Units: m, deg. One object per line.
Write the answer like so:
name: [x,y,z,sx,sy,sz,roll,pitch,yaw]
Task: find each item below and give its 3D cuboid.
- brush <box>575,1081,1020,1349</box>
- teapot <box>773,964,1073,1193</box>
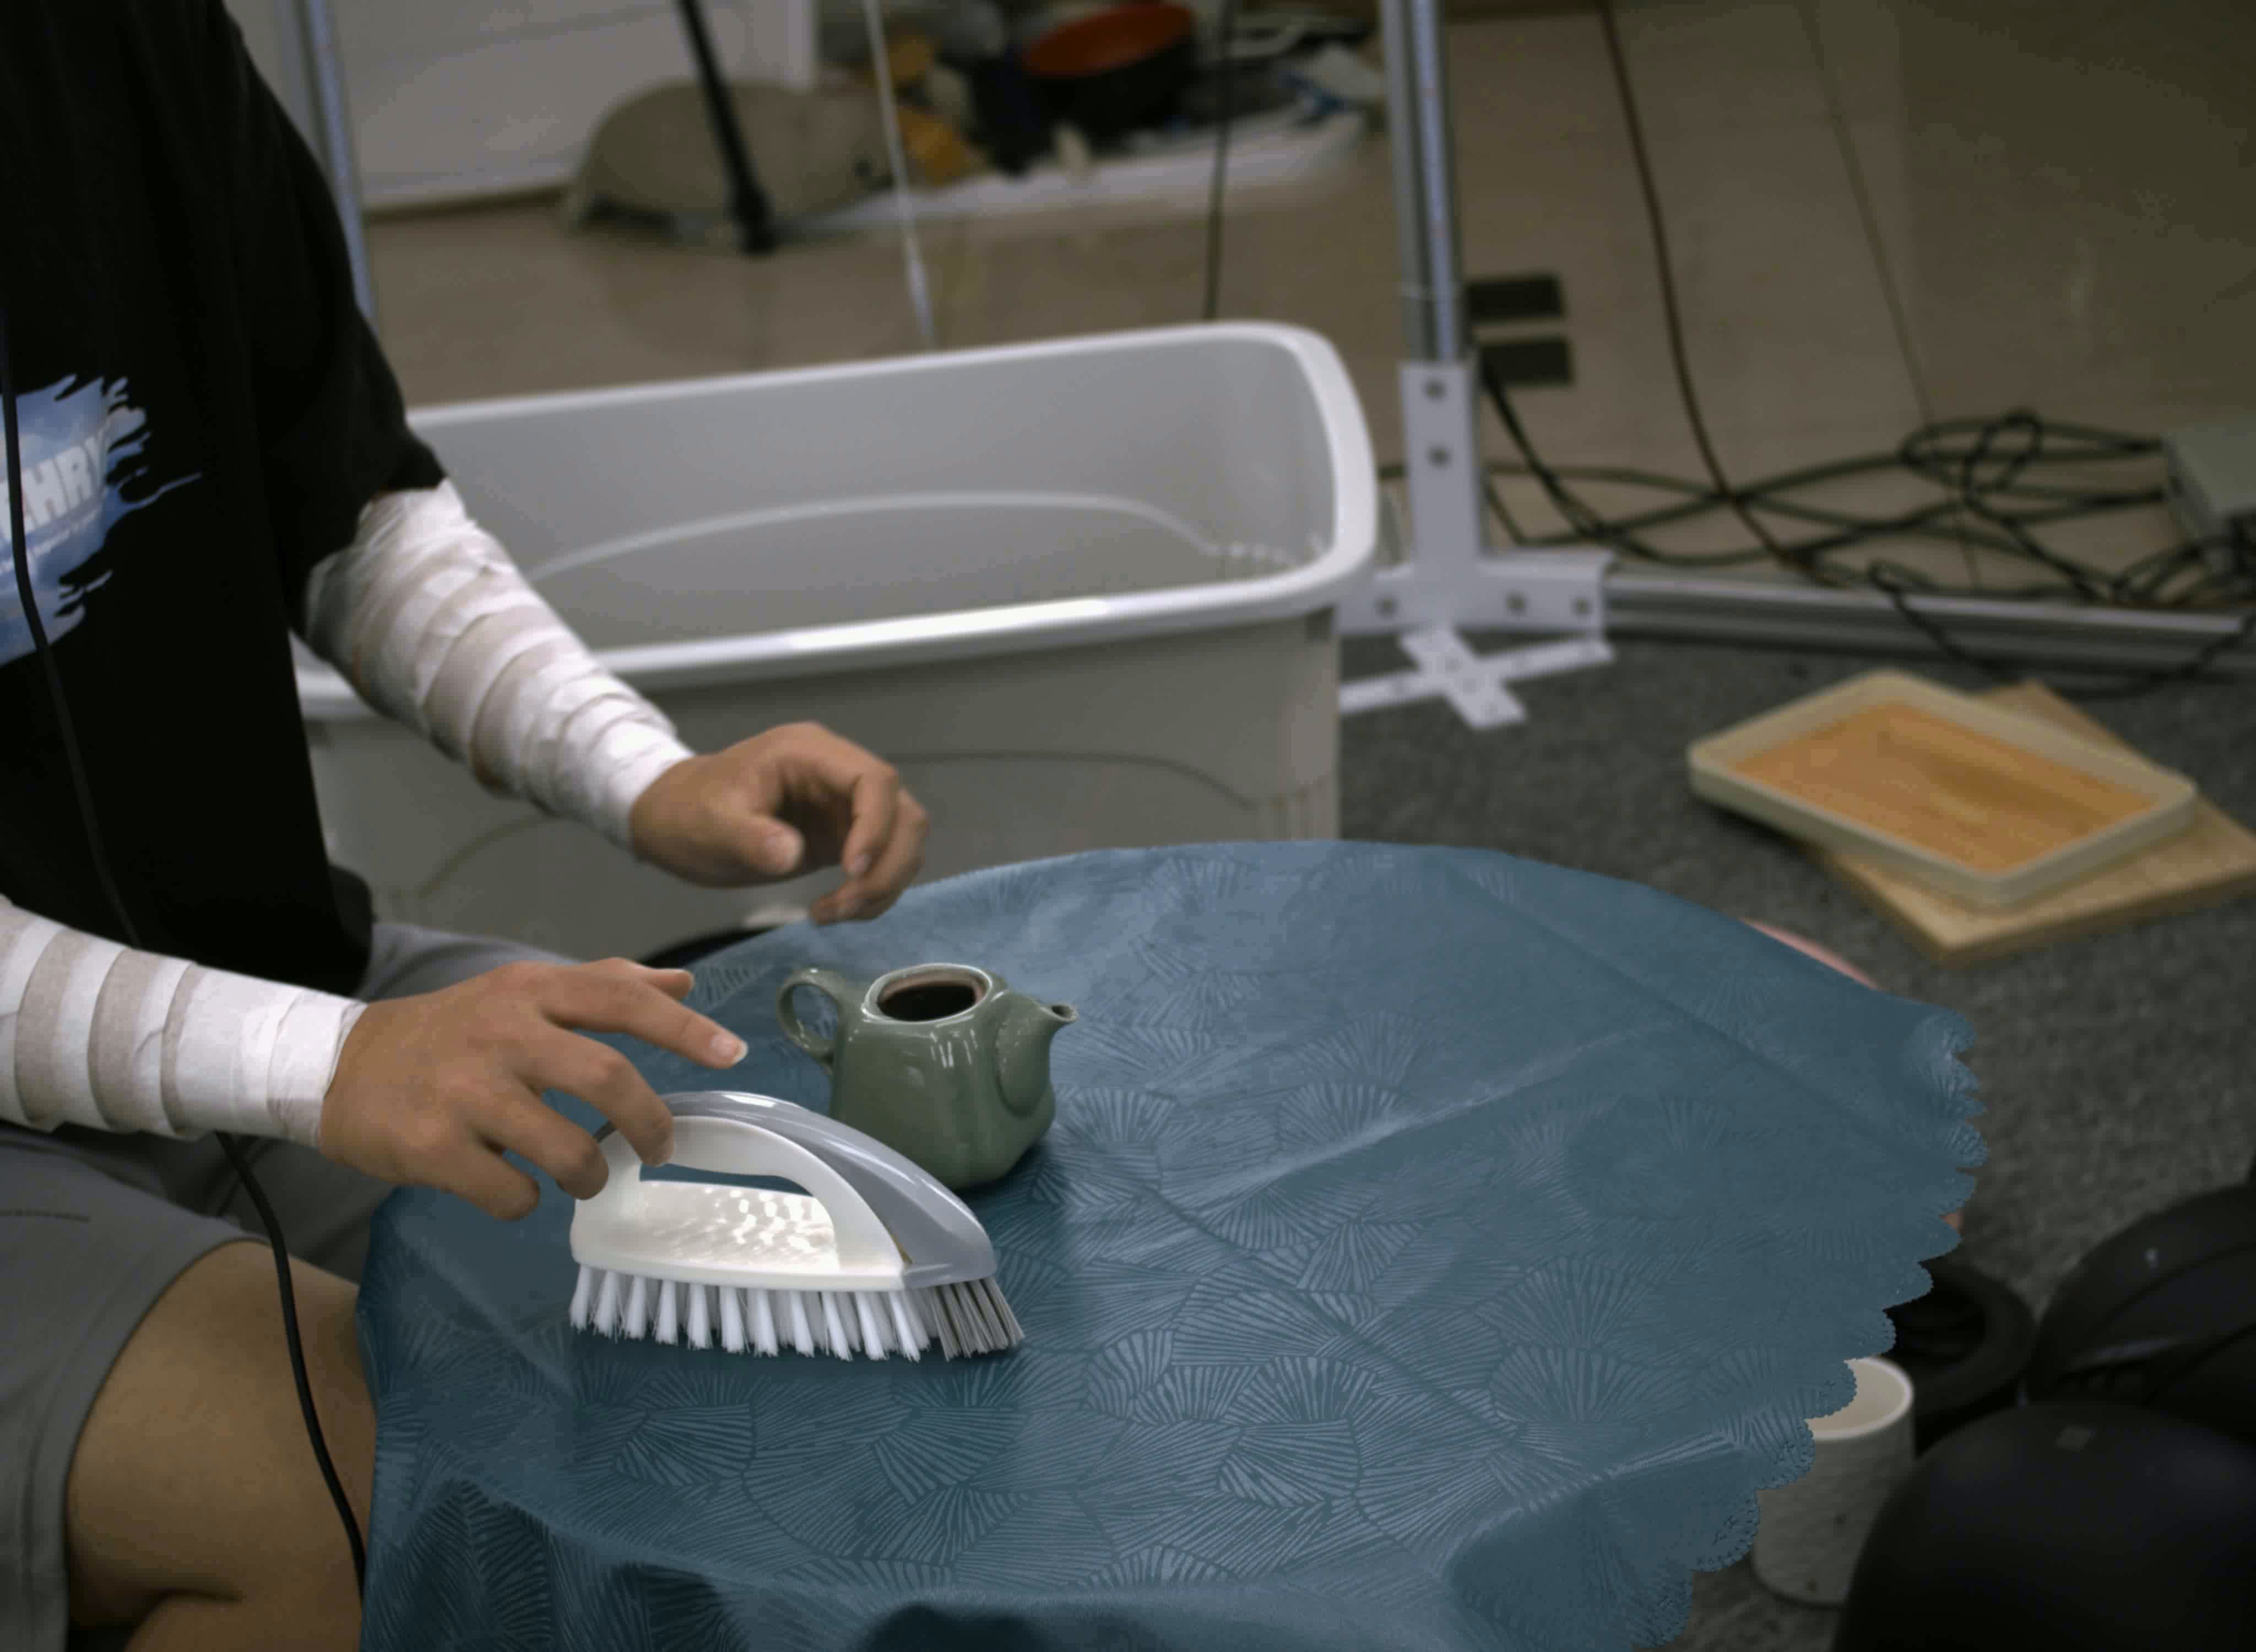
brush: [-0.123,0.139,2.068,0.175,0.096,0.060,8,34,25]
teapot: [-0.076,0.094,2.176,0.132,0.076,0.079,6,27,28]
